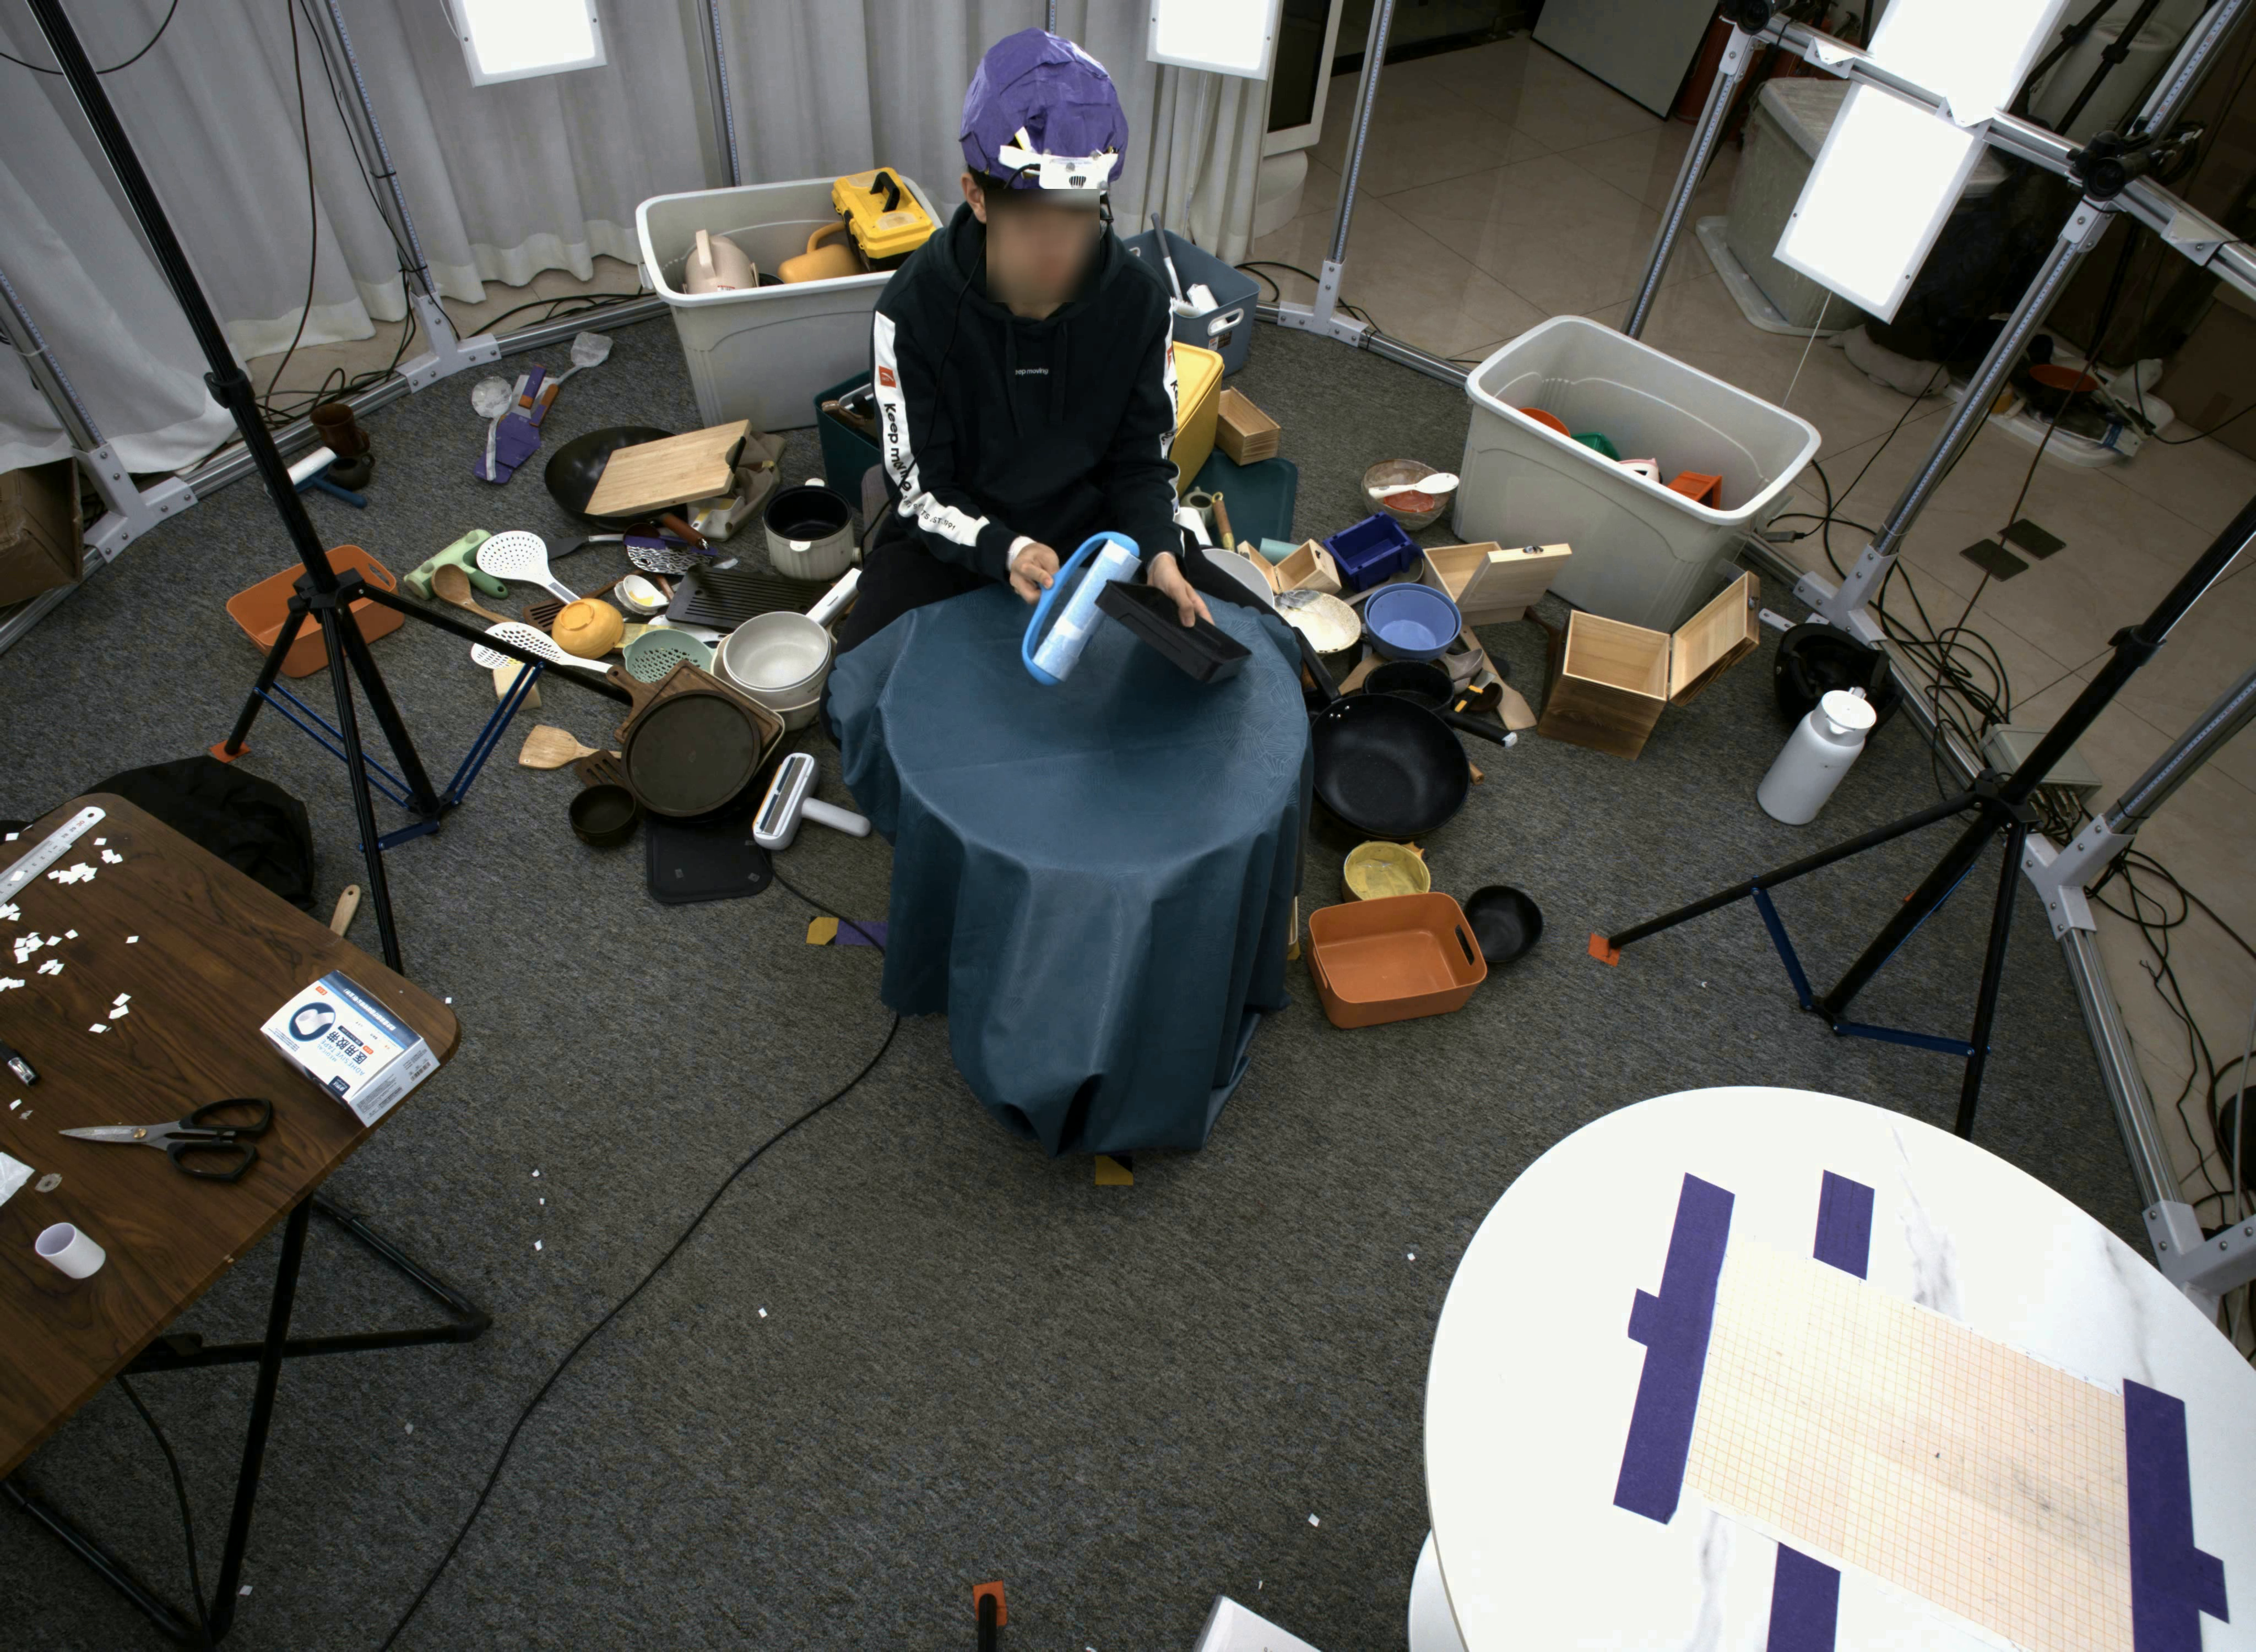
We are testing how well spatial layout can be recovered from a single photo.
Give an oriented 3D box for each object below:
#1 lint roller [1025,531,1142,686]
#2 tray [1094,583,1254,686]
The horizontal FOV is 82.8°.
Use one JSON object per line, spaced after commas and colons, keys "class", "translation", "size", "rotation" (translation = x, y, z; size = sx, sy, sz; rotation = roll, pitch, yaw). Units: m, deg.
{"class": "lint roller", "translation": [-0.086, -0.316, 1.782], "size": [0.067, 0.228, 0.183], "rotation": [26, 7, -42]}
{"class": "tray", "translation": [0.069, -0.265, 1.742], "size": [0.185, 0.037, 0.319], "rotation": [35, 16, 5]}
